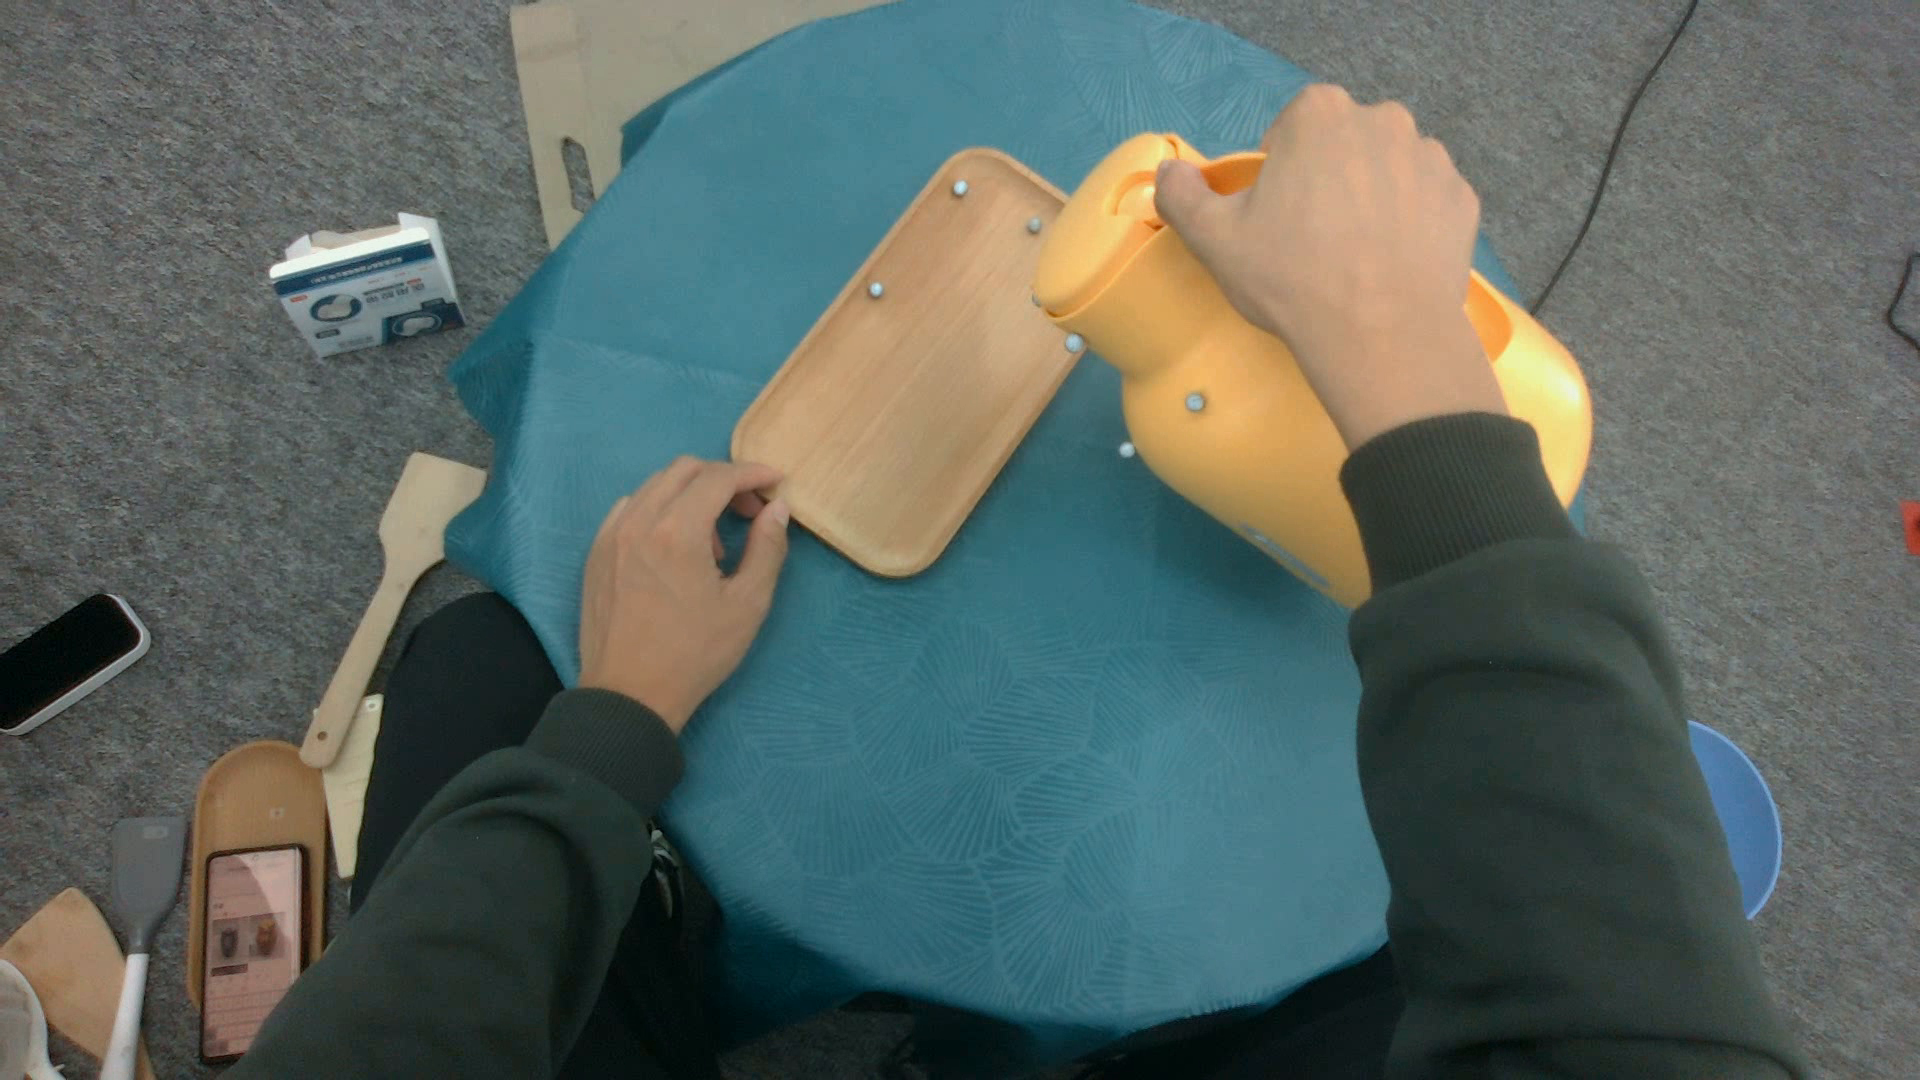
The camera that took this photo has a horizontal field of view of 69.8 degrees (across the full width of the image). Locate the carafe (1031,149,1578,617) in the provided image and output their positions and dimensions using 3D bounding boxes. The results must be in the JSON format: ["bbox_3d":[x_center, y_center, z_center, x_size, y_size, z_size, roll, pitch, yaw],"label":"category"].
[{"bbox_3d":[0.166,-0.081,0.647,0.260,0.202,0.164,29,78,-20],"label":"carafe"}]

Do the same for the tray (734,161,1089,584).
[{"bbox_3d":[-0.010,-0.098,0.768,0.130,0.023,0.251,34,72,5],"label":"tray"}]
